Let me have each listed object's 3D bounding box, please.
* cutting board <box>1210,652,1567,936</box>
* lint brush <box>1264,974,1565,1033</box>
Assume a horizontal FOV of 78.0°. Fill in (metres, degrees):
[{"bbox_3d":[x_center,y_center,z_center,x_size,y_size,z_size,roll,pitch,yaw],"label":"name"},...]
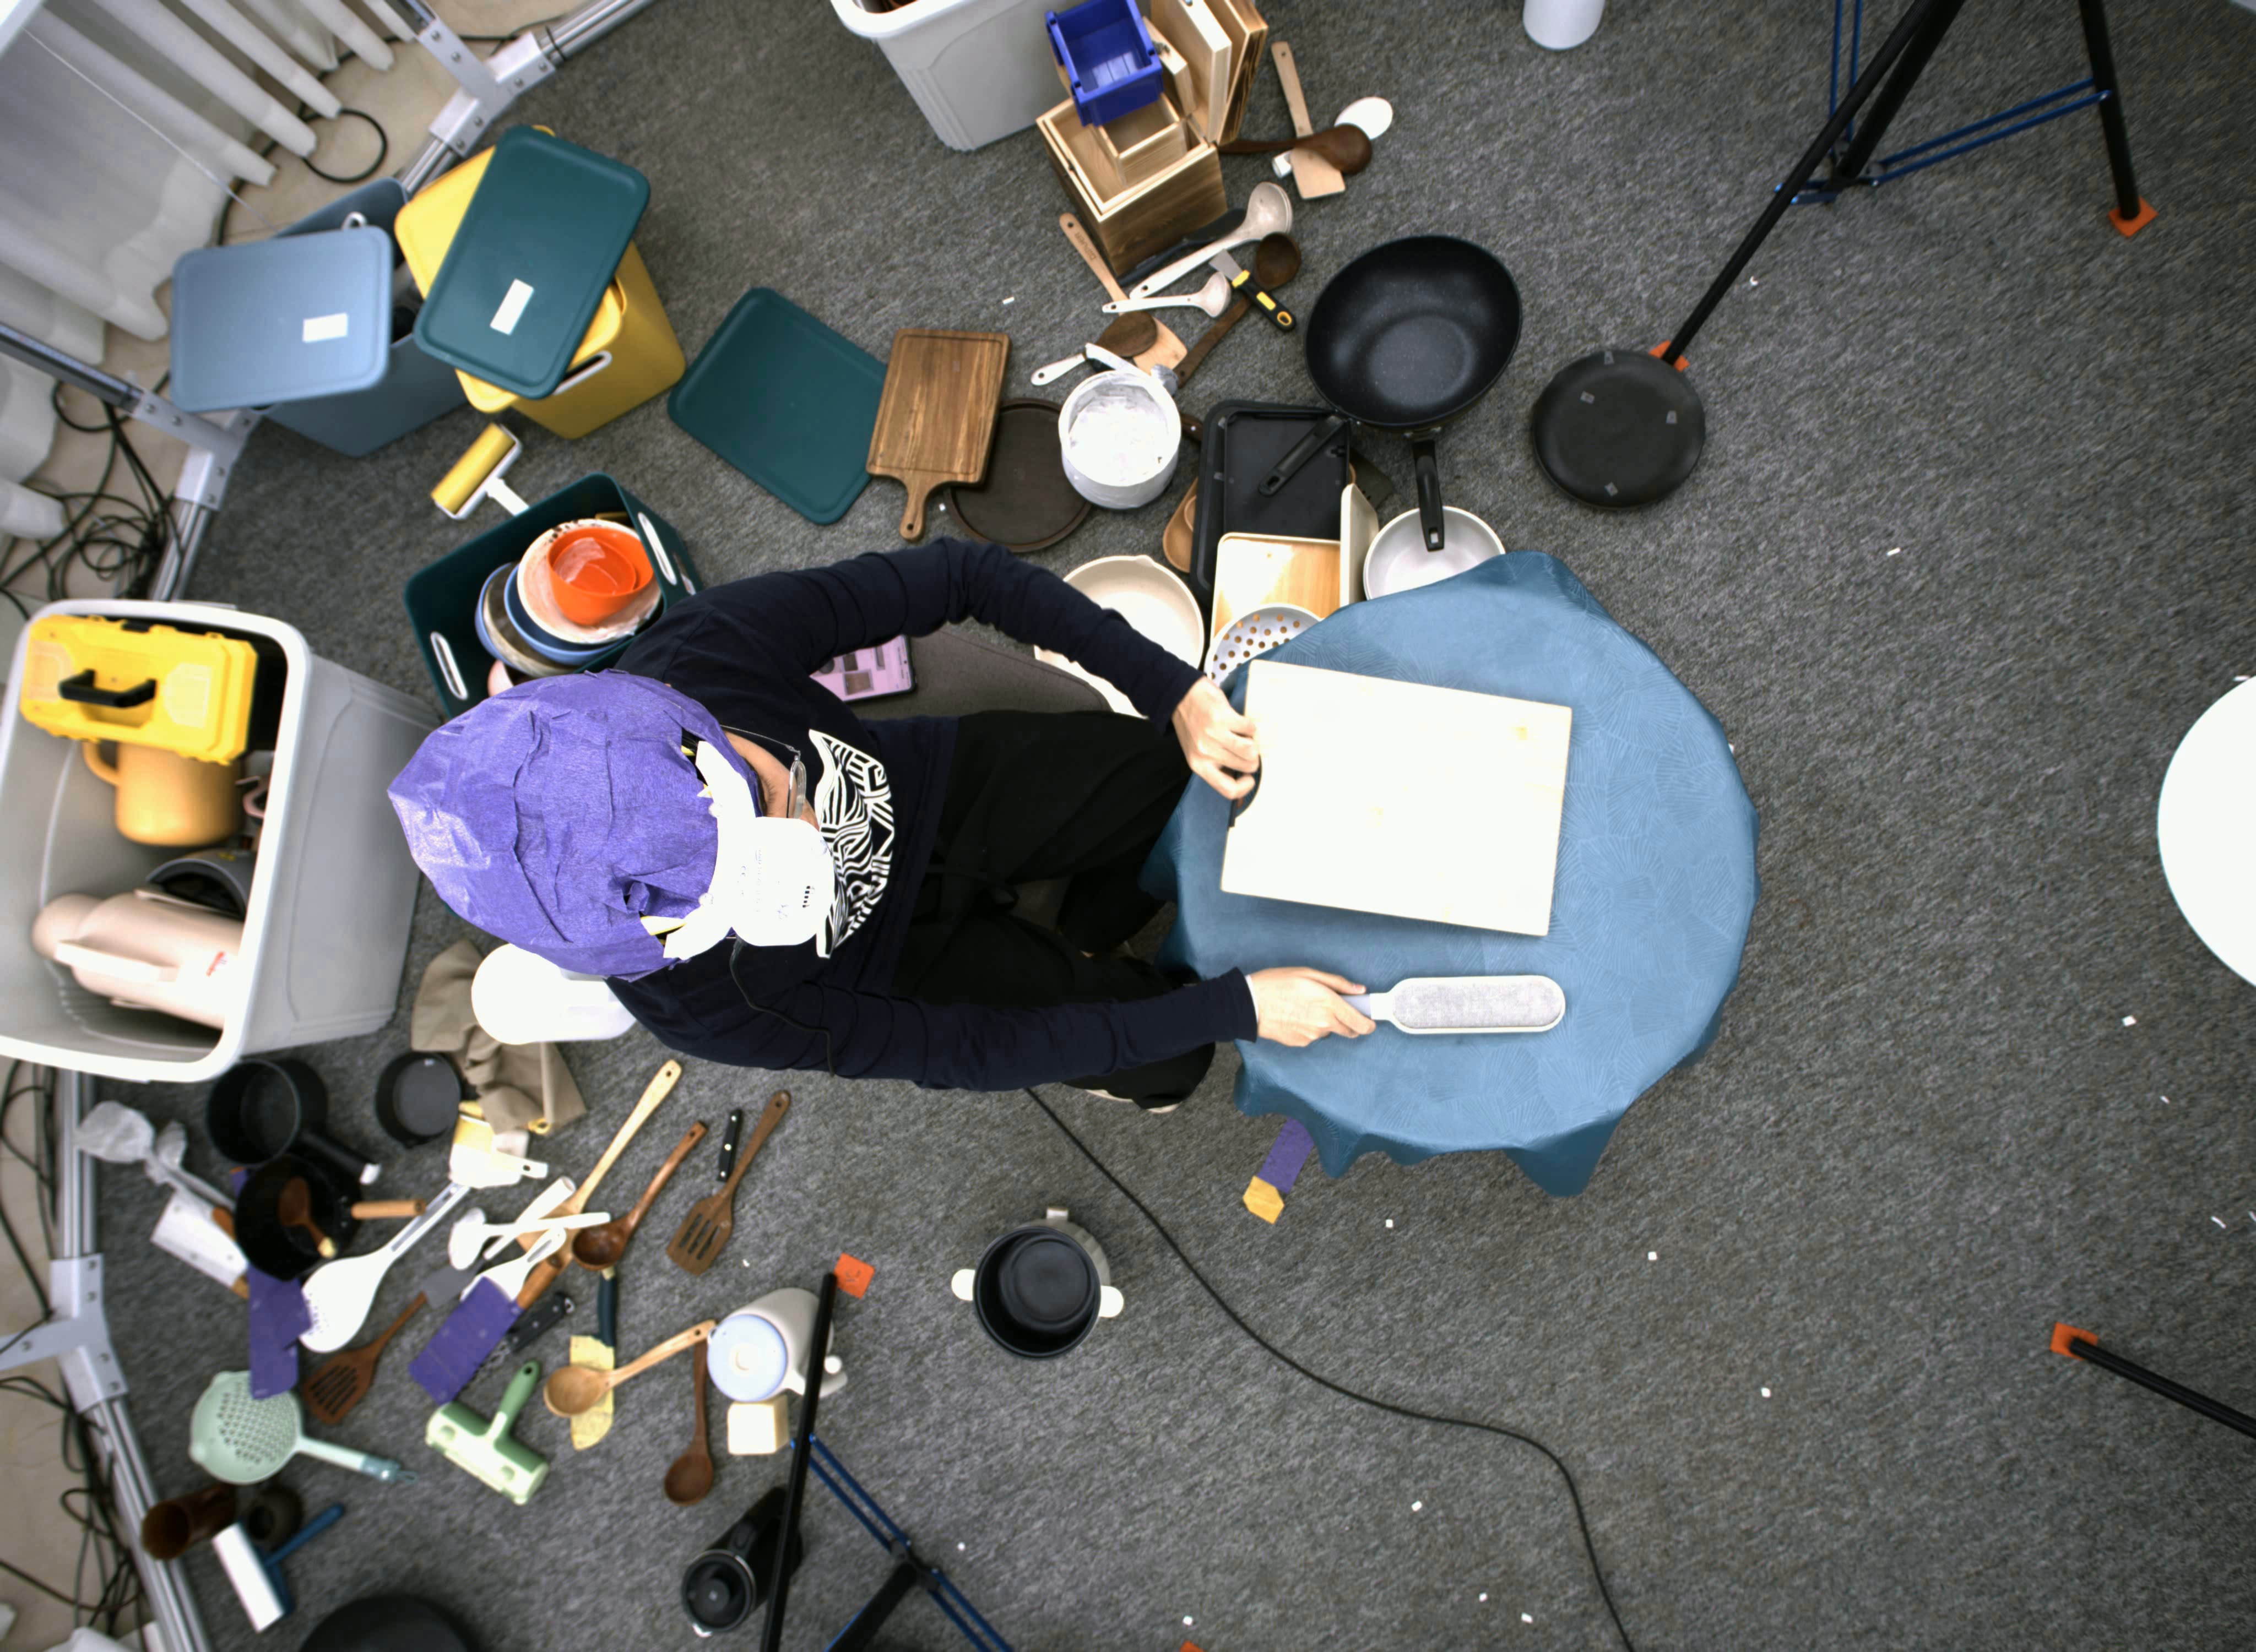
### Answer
[{"bbox_3d":[0.270,-0.033,1.416,0.349,0.023,0.250,7,88,-3],"label":"cutting board"},{"bbox_3d":[0.295,0.182,1.426,0.310,0.021,0.059,-2,84,7],"label":"lint brush"}]
